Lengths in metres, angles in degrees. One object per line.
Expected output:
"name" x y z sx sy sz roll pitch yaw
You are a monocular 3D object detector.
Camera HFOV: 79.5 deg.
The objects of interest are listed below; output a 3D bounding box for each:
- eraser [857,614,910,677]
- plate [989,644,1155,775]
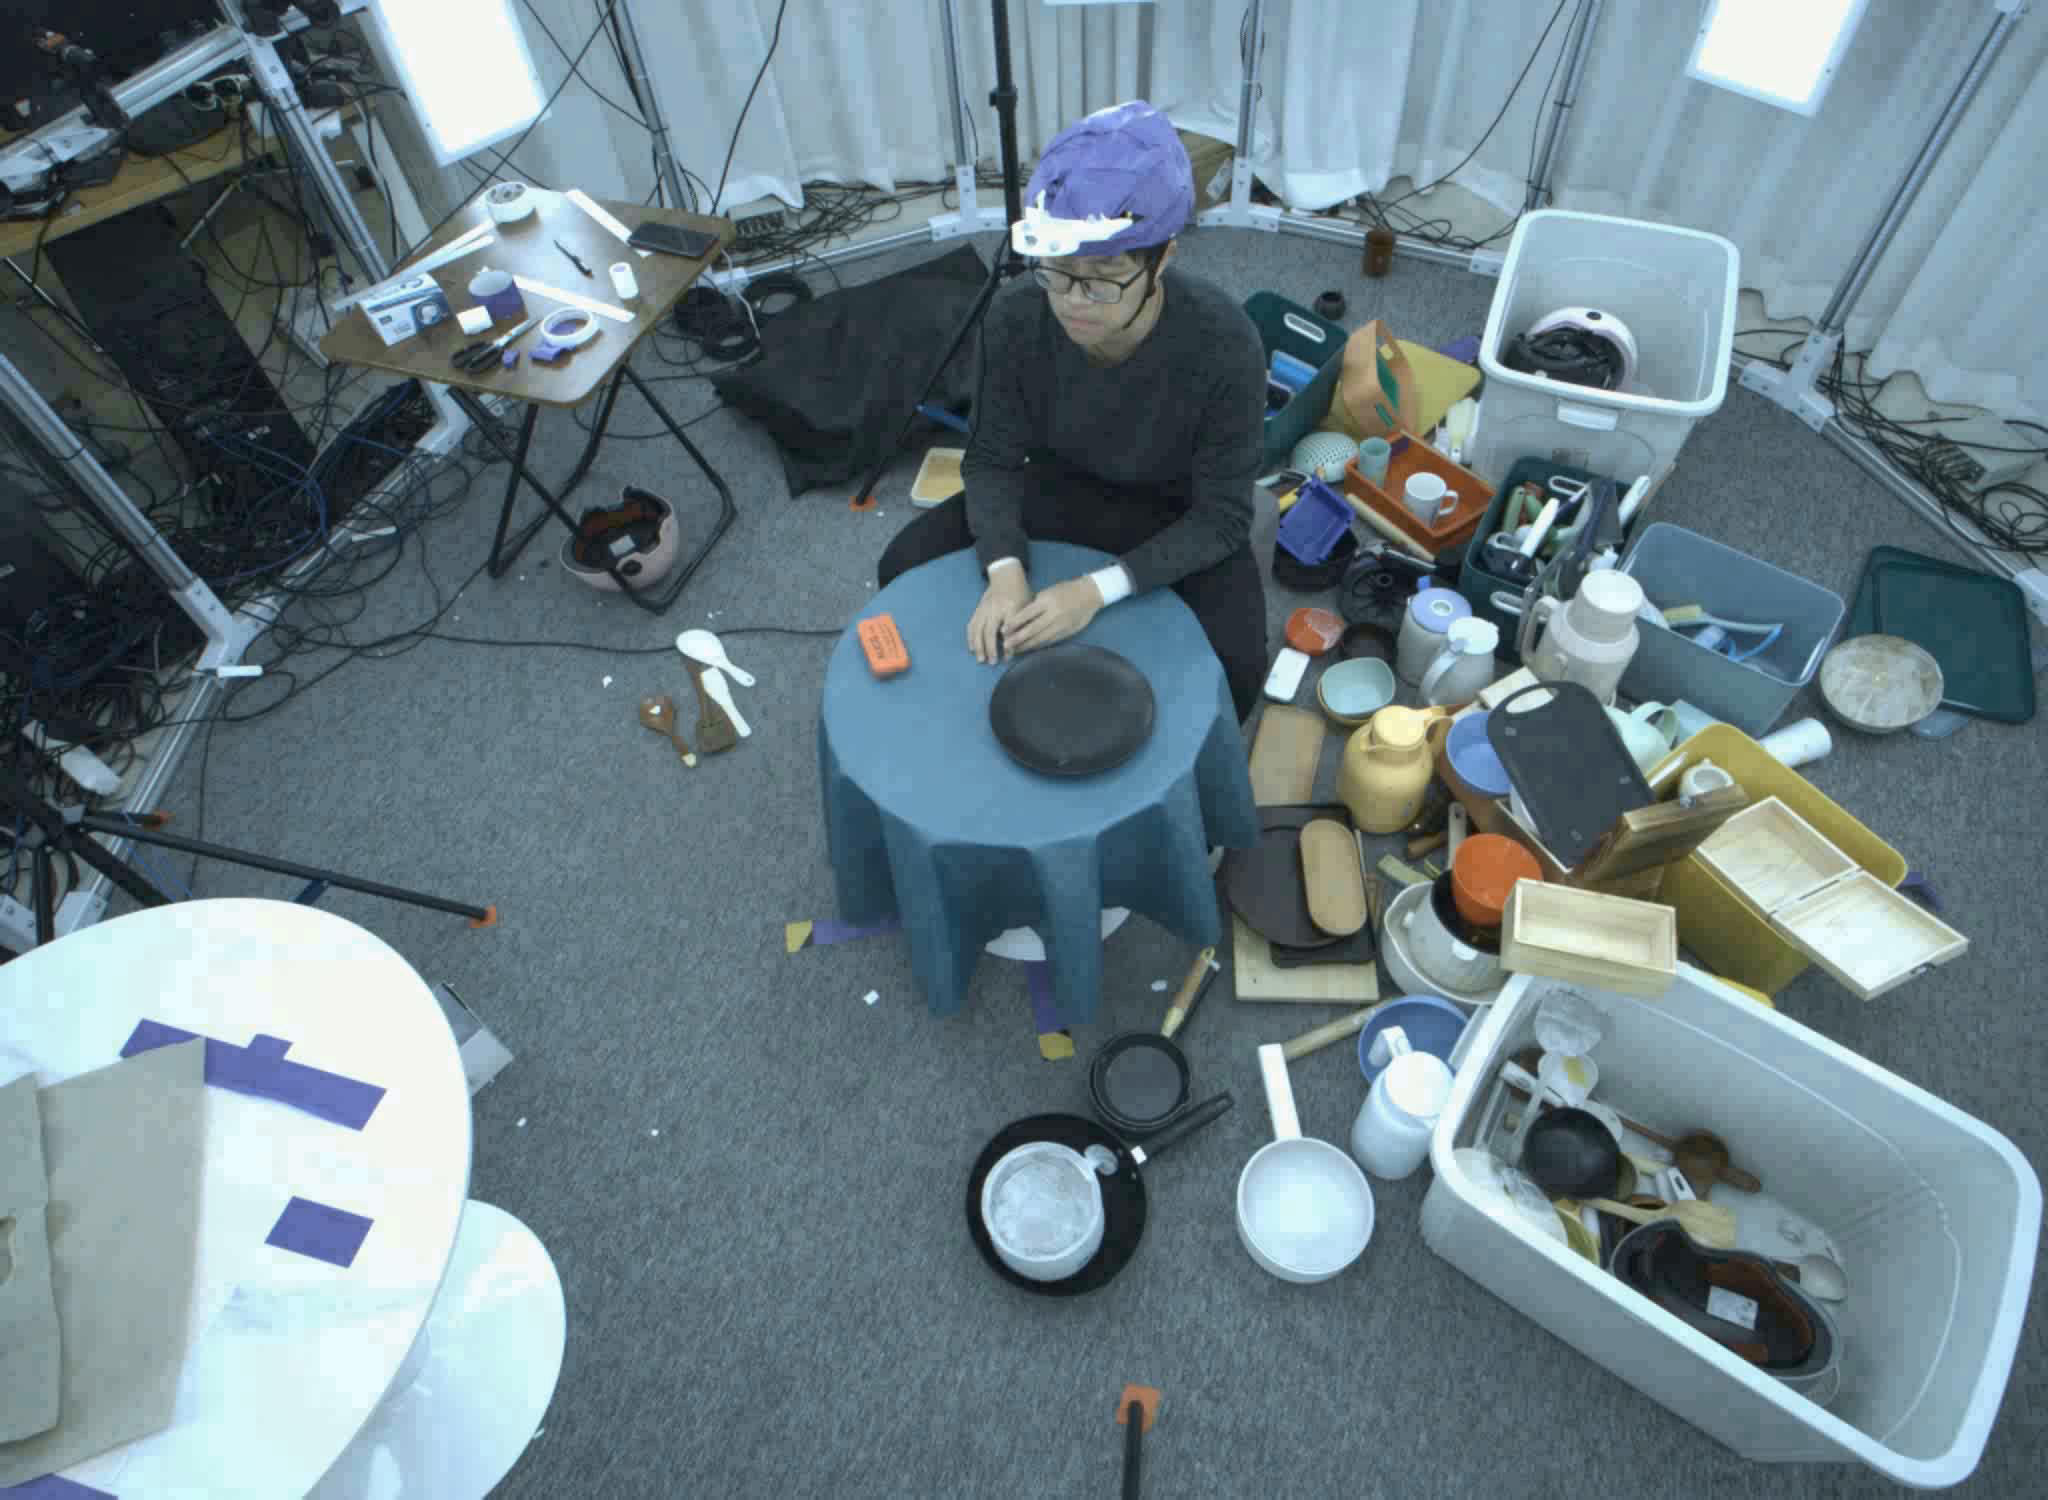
"eraser" -0.219 -0.163 1.892 0.059 0.023 0.106 -17 54 -12
"plate" 0.071 -0.058 1.812 0.244 0.024 0.242 -1 55 2
